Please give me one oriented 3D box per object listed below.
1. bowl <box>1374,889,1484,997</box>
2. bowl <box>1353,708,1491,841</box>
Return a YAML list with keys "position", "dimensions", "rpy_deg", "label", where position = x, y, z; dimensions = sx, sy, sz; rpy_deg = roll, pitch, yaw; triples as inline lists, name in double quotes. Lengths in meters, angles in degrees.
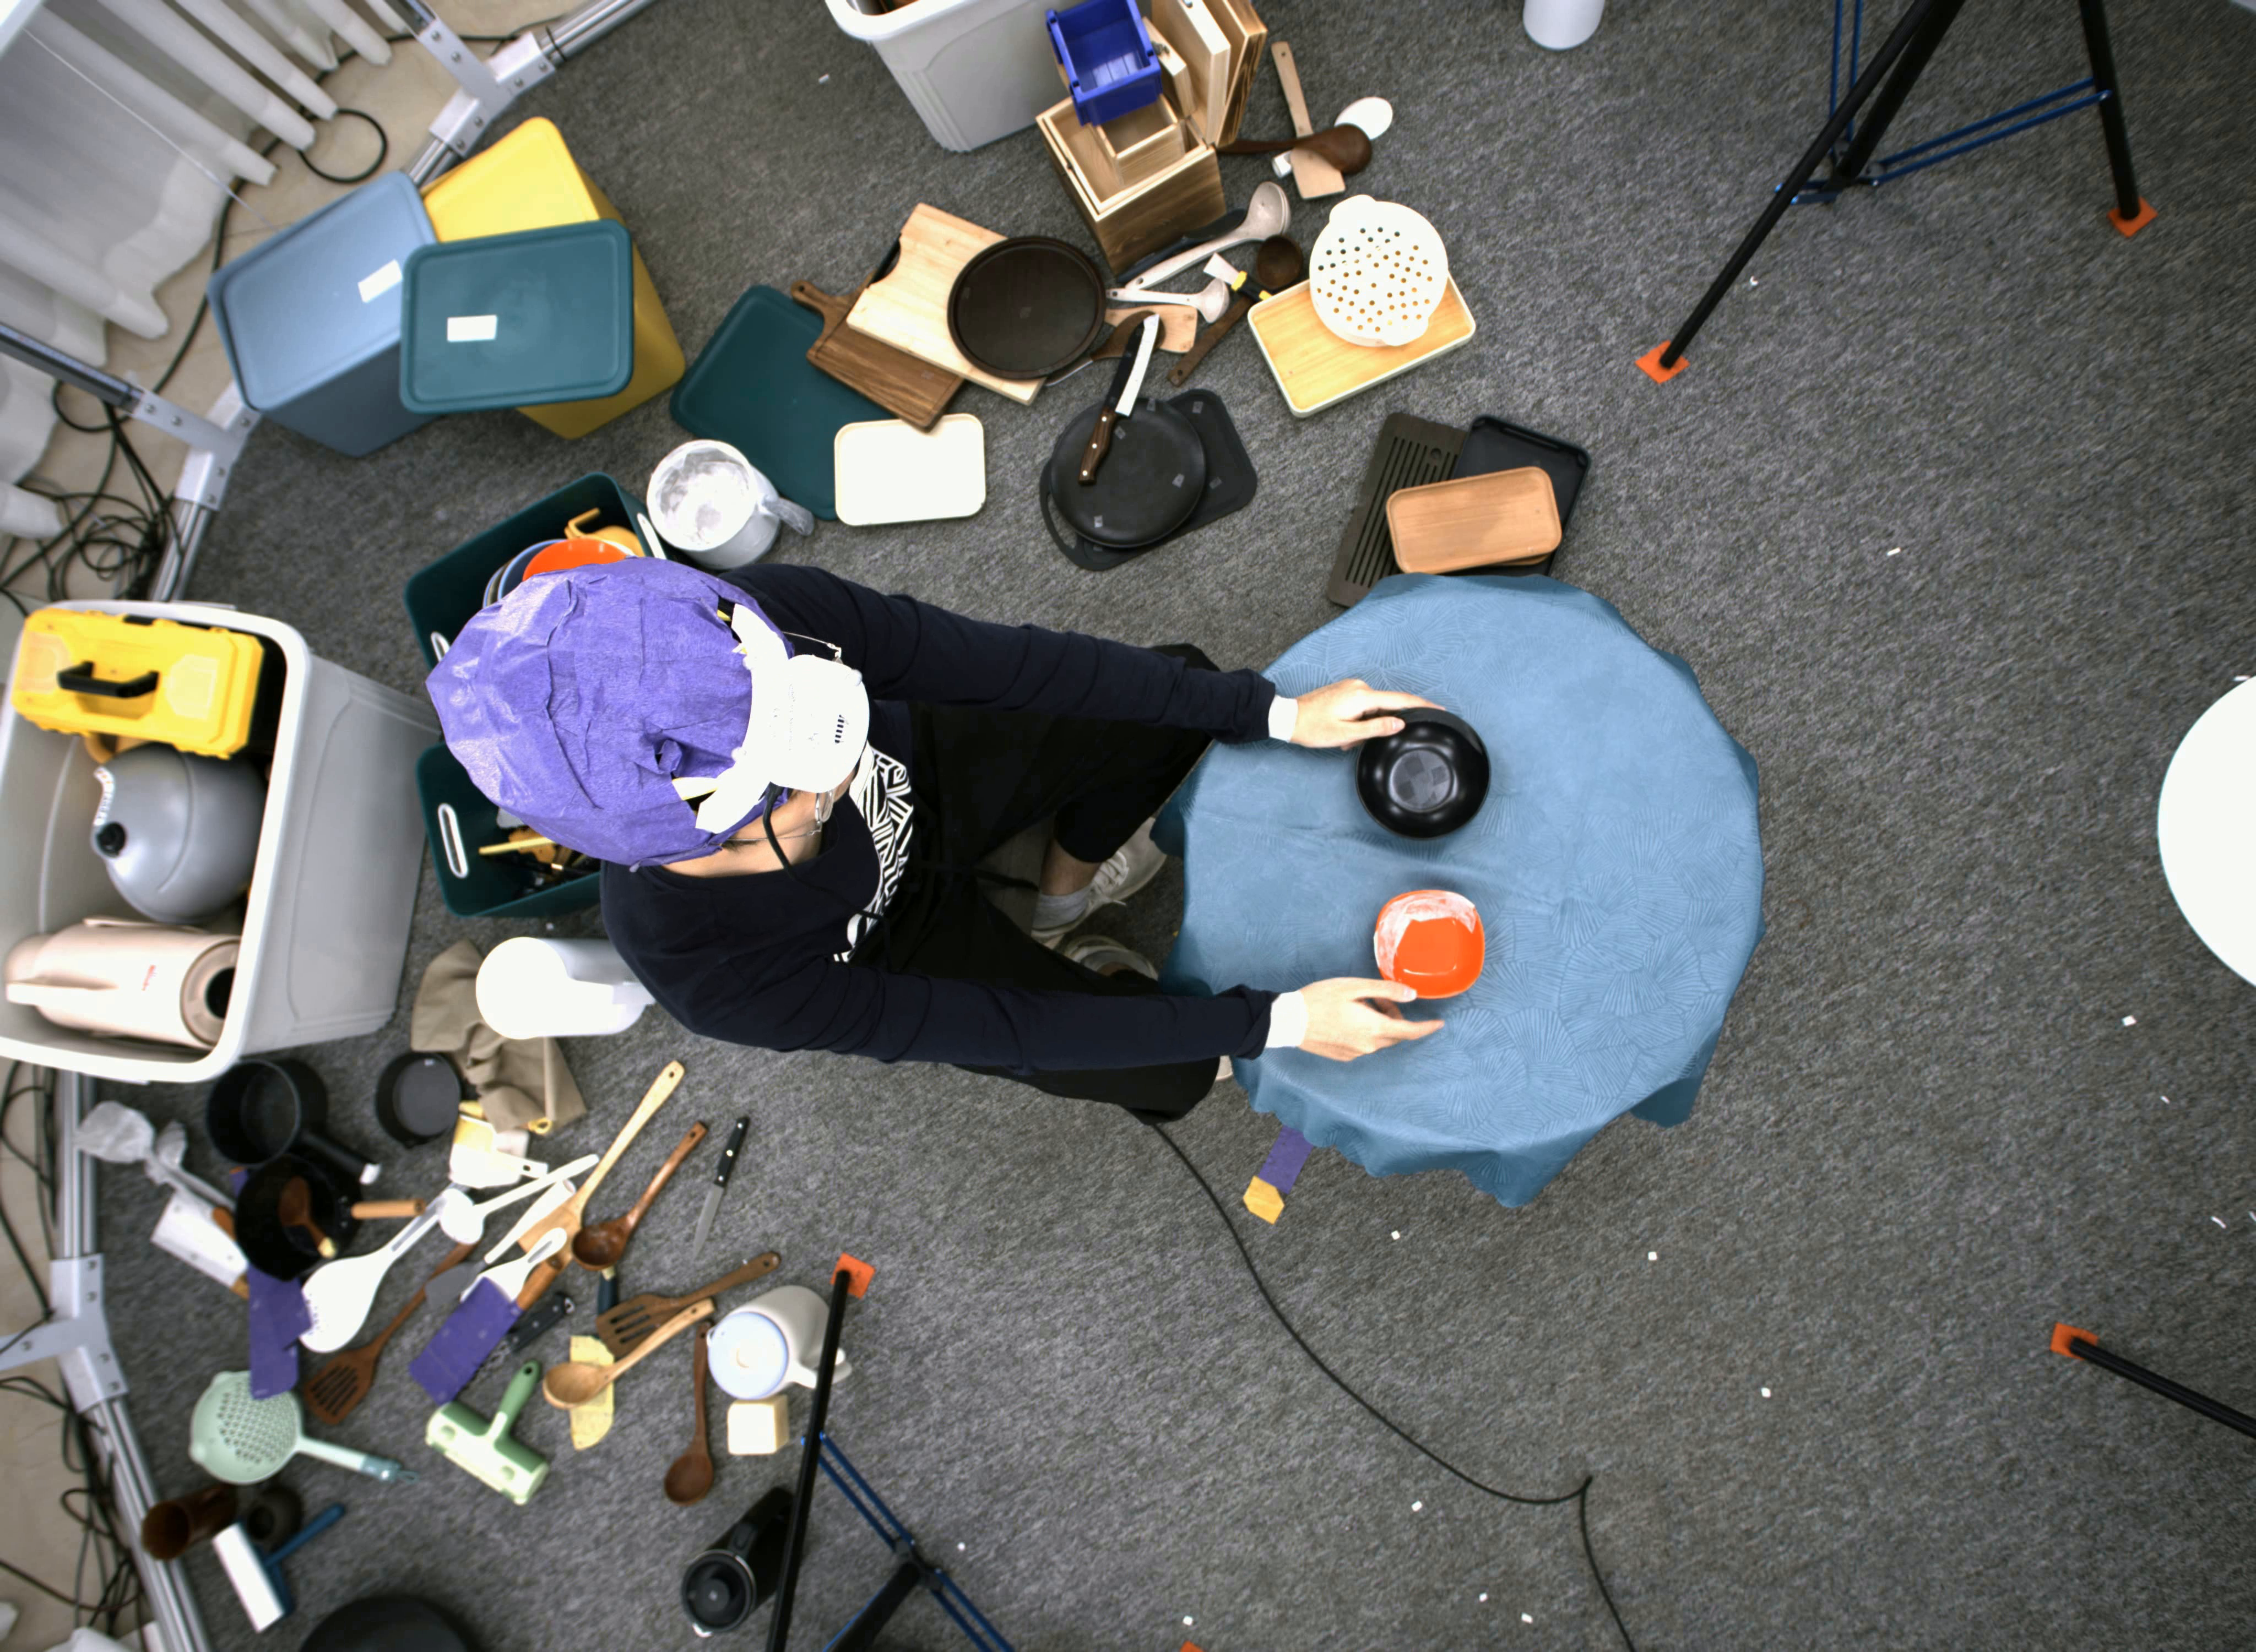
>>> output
- position: [0.309, 0.119, 1.423]
  dimensions: [0.119, 0.051, 0.118]
  rpy_deg: [-1, 87, 9]
  label: "bowl"
- position: [0.307, -0.053, 1.437]
  dimensions: [0.141, 0.050, 0.139]
  rpy_deg: [-1, 86, 15]
  label: "bowl"
